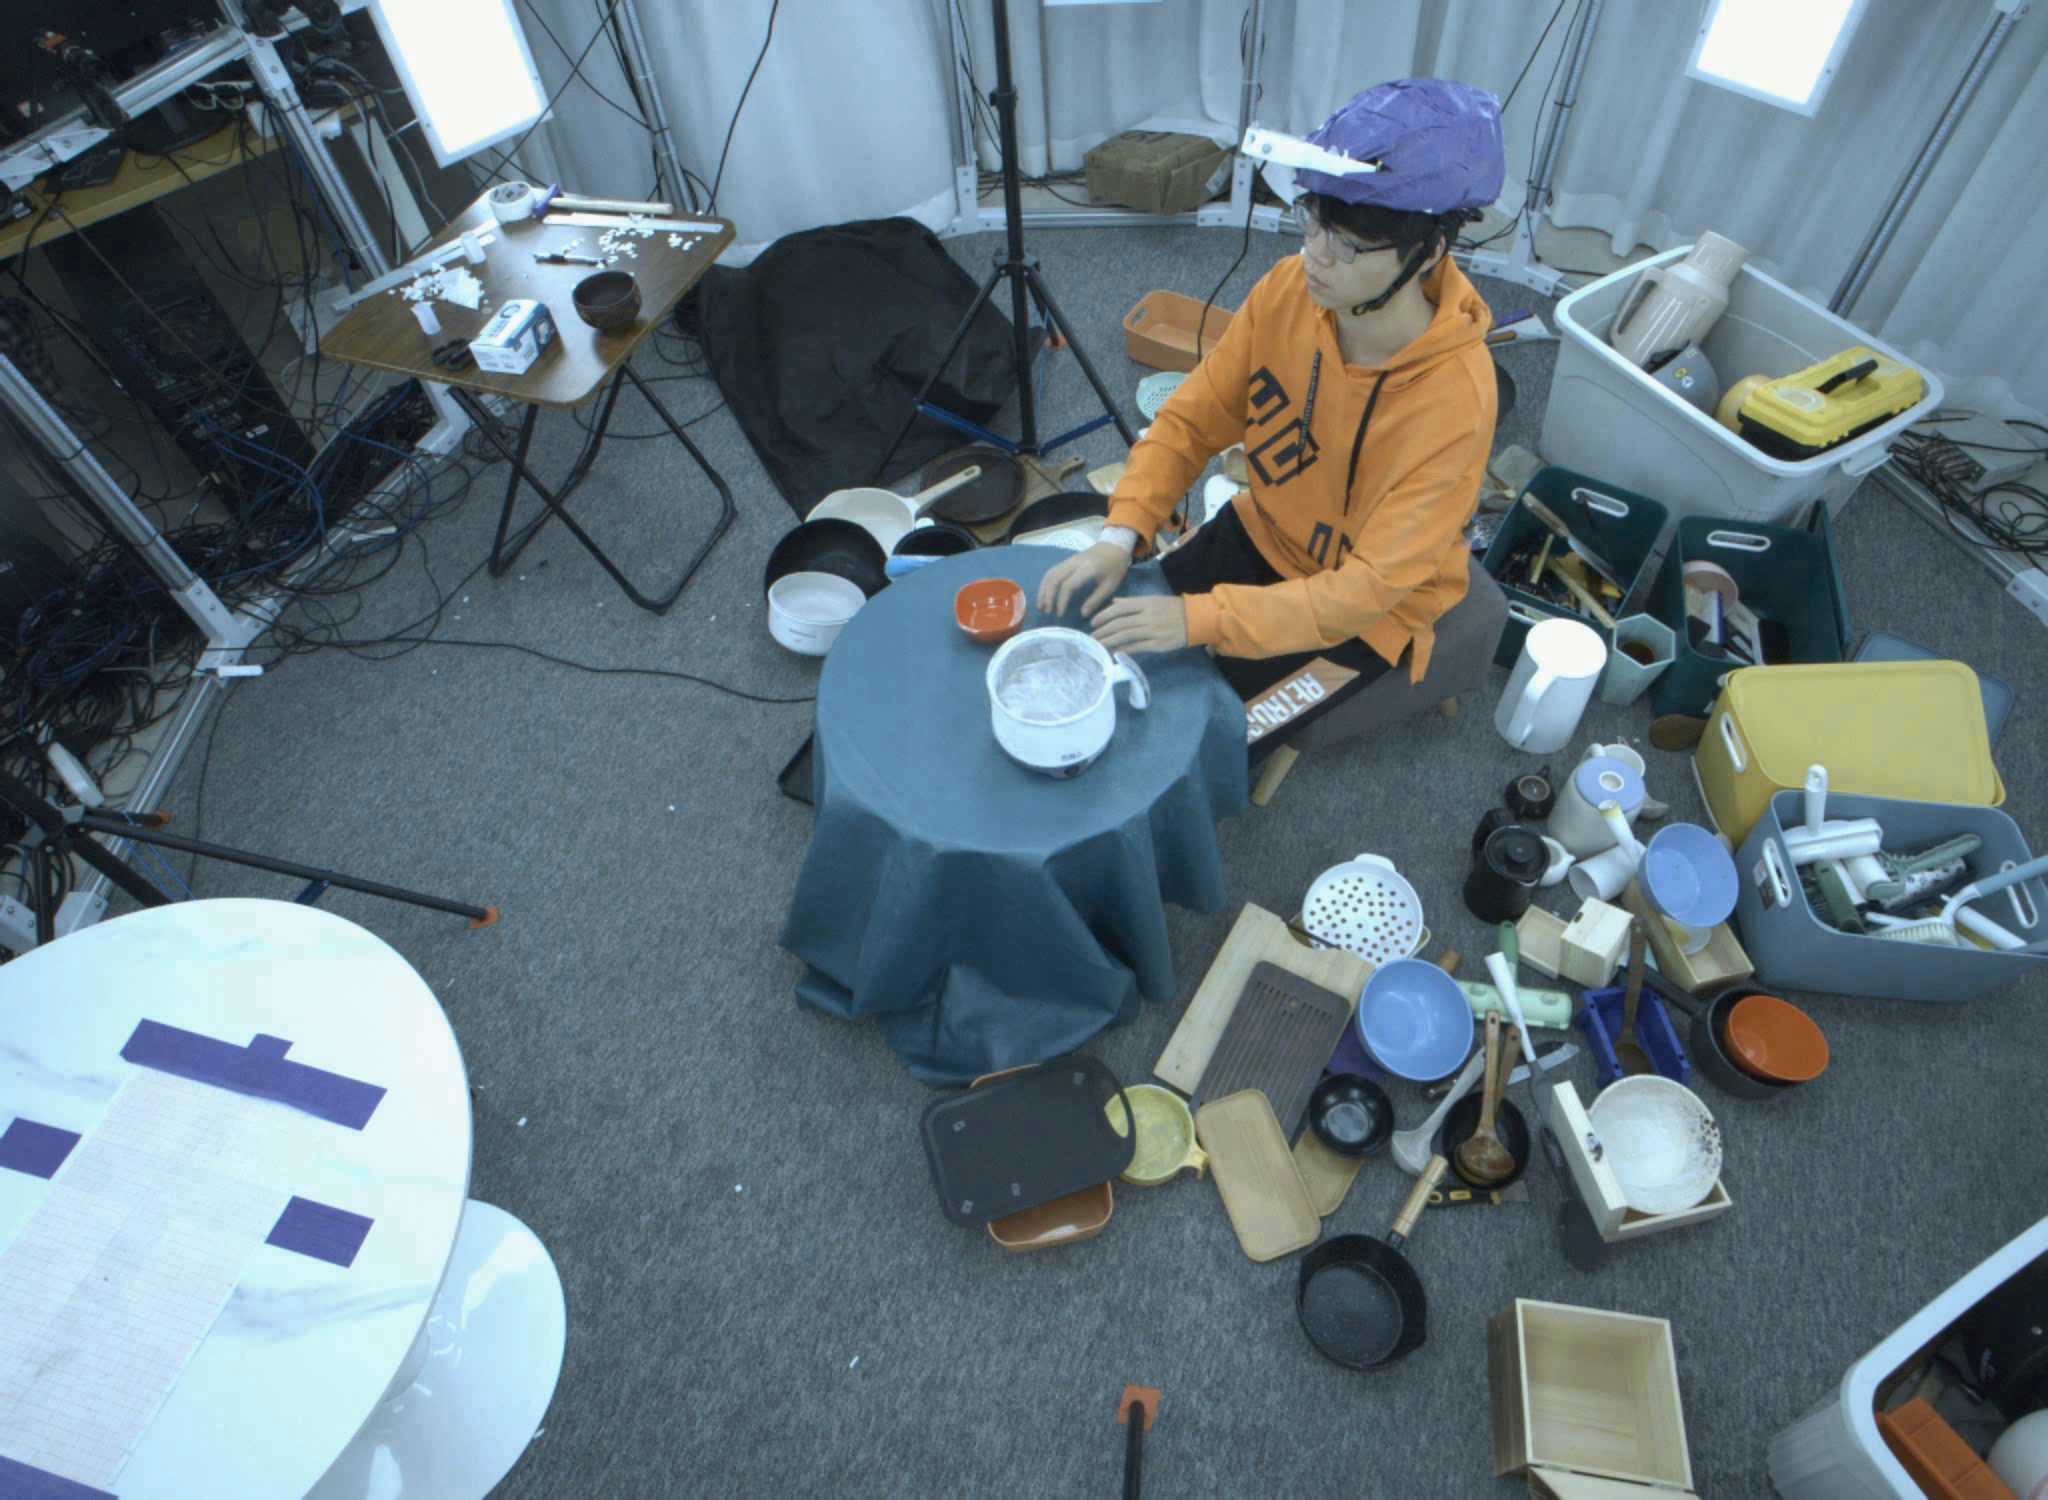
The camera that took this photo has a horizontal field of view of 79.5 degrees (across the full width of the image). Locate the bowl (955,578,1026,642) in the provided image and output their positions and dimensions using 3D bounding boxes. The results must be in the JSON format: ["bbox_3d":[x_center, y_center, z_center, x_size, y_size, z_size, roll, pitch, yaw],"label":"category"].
[{"bbox_3d":[-0.050,-0.210,1.906,0.119,0.052,0.117,-1,54,3],"label":"bowl"}]

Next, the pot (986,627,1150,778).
[{"bbox_3d":[0.067,-0.074,1.752,0.235,0.138,0.175,-17,56,-9],"label":"pot"}]
